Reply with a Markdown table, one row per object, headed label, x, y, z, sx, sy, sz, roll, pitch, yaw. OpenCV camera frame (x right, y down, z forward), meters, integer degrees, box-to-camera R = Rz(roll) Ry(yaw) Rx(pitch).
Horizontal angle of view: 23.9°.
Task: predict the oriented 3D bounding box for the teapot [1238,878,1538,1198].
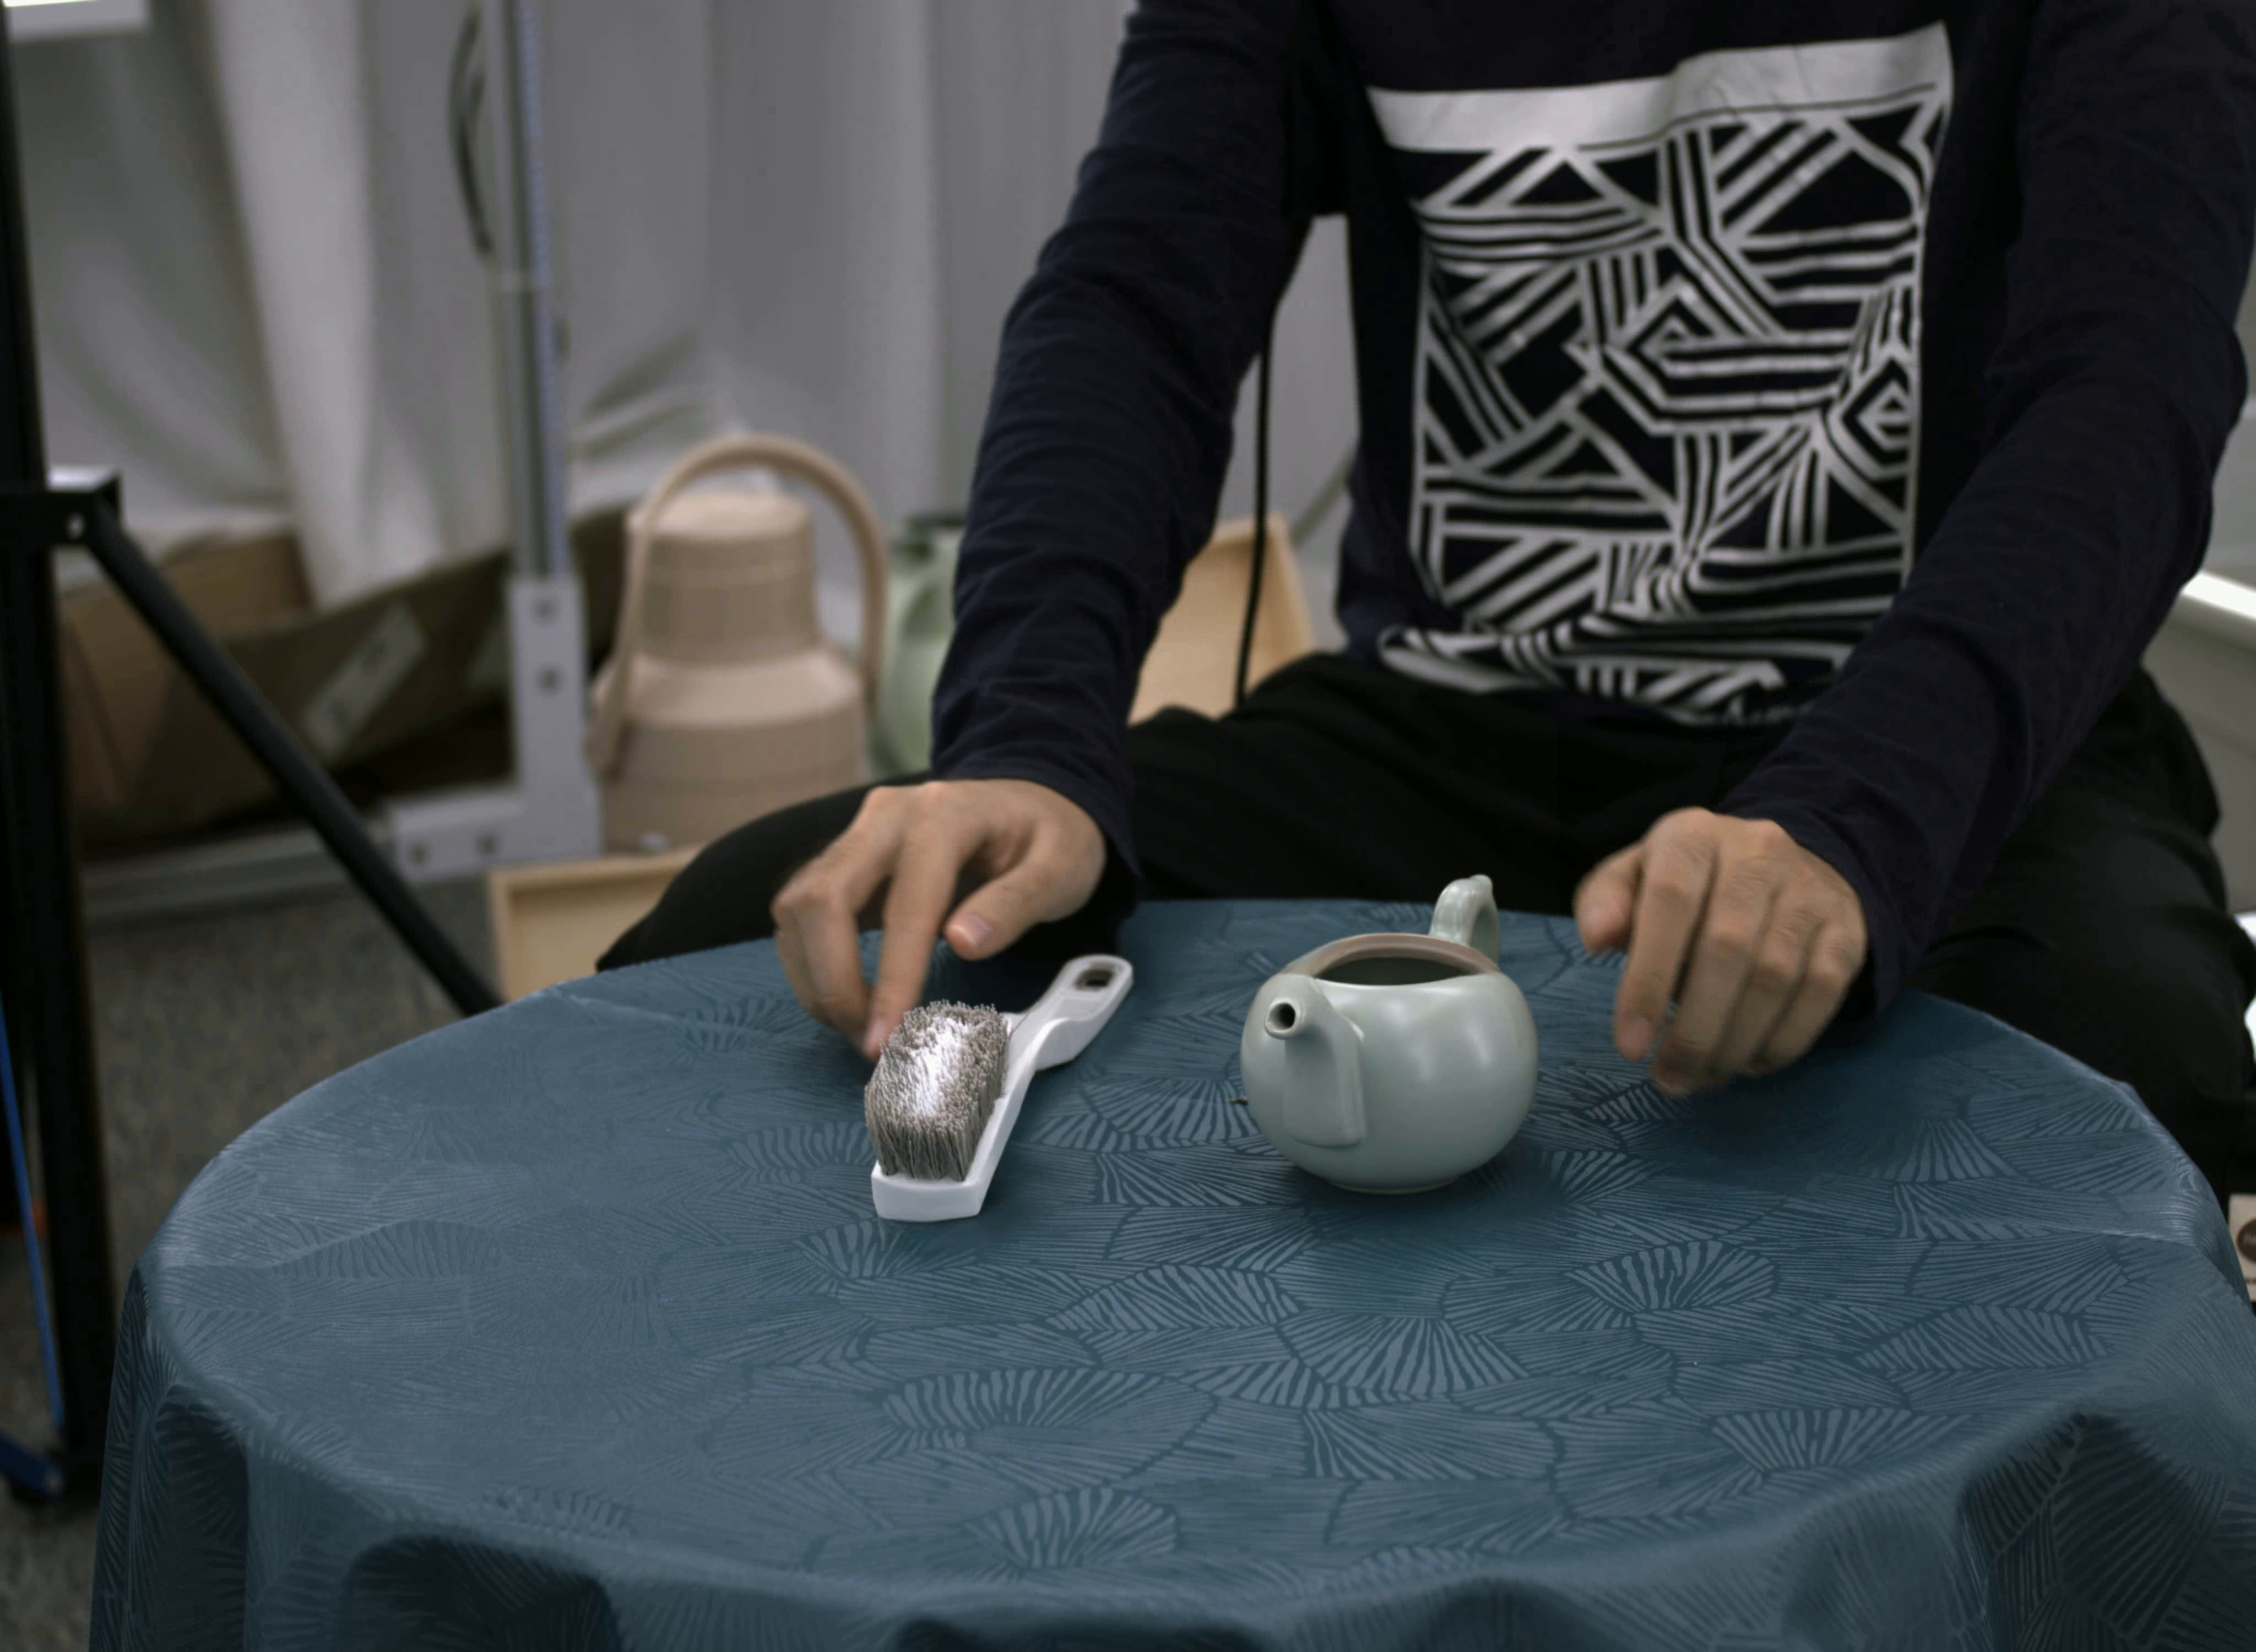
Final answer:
| label | x | y | z | sx | sy | sz | roll | pitch | yaw |
| --- | --- | --- | --- | --- | --- | --- | --- | --- | --- |
| teapot | 0.077 | 0.068 | 1.559 | 0.090 | 0.074 | 0.141 | 6 | 19 | 31 |

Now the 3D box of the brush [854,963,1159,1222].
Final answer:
| label | x | y | z | sx | sy | sz | roll | pitch | yaw |
| --- | --- | --- | --- | --- | --- | --- | --- | --- | --- |
| brush | -0.033 | 0.062 | 1.642 | 0.035 | 0.050 | 0.241 | -1 | 15 | 17 |
